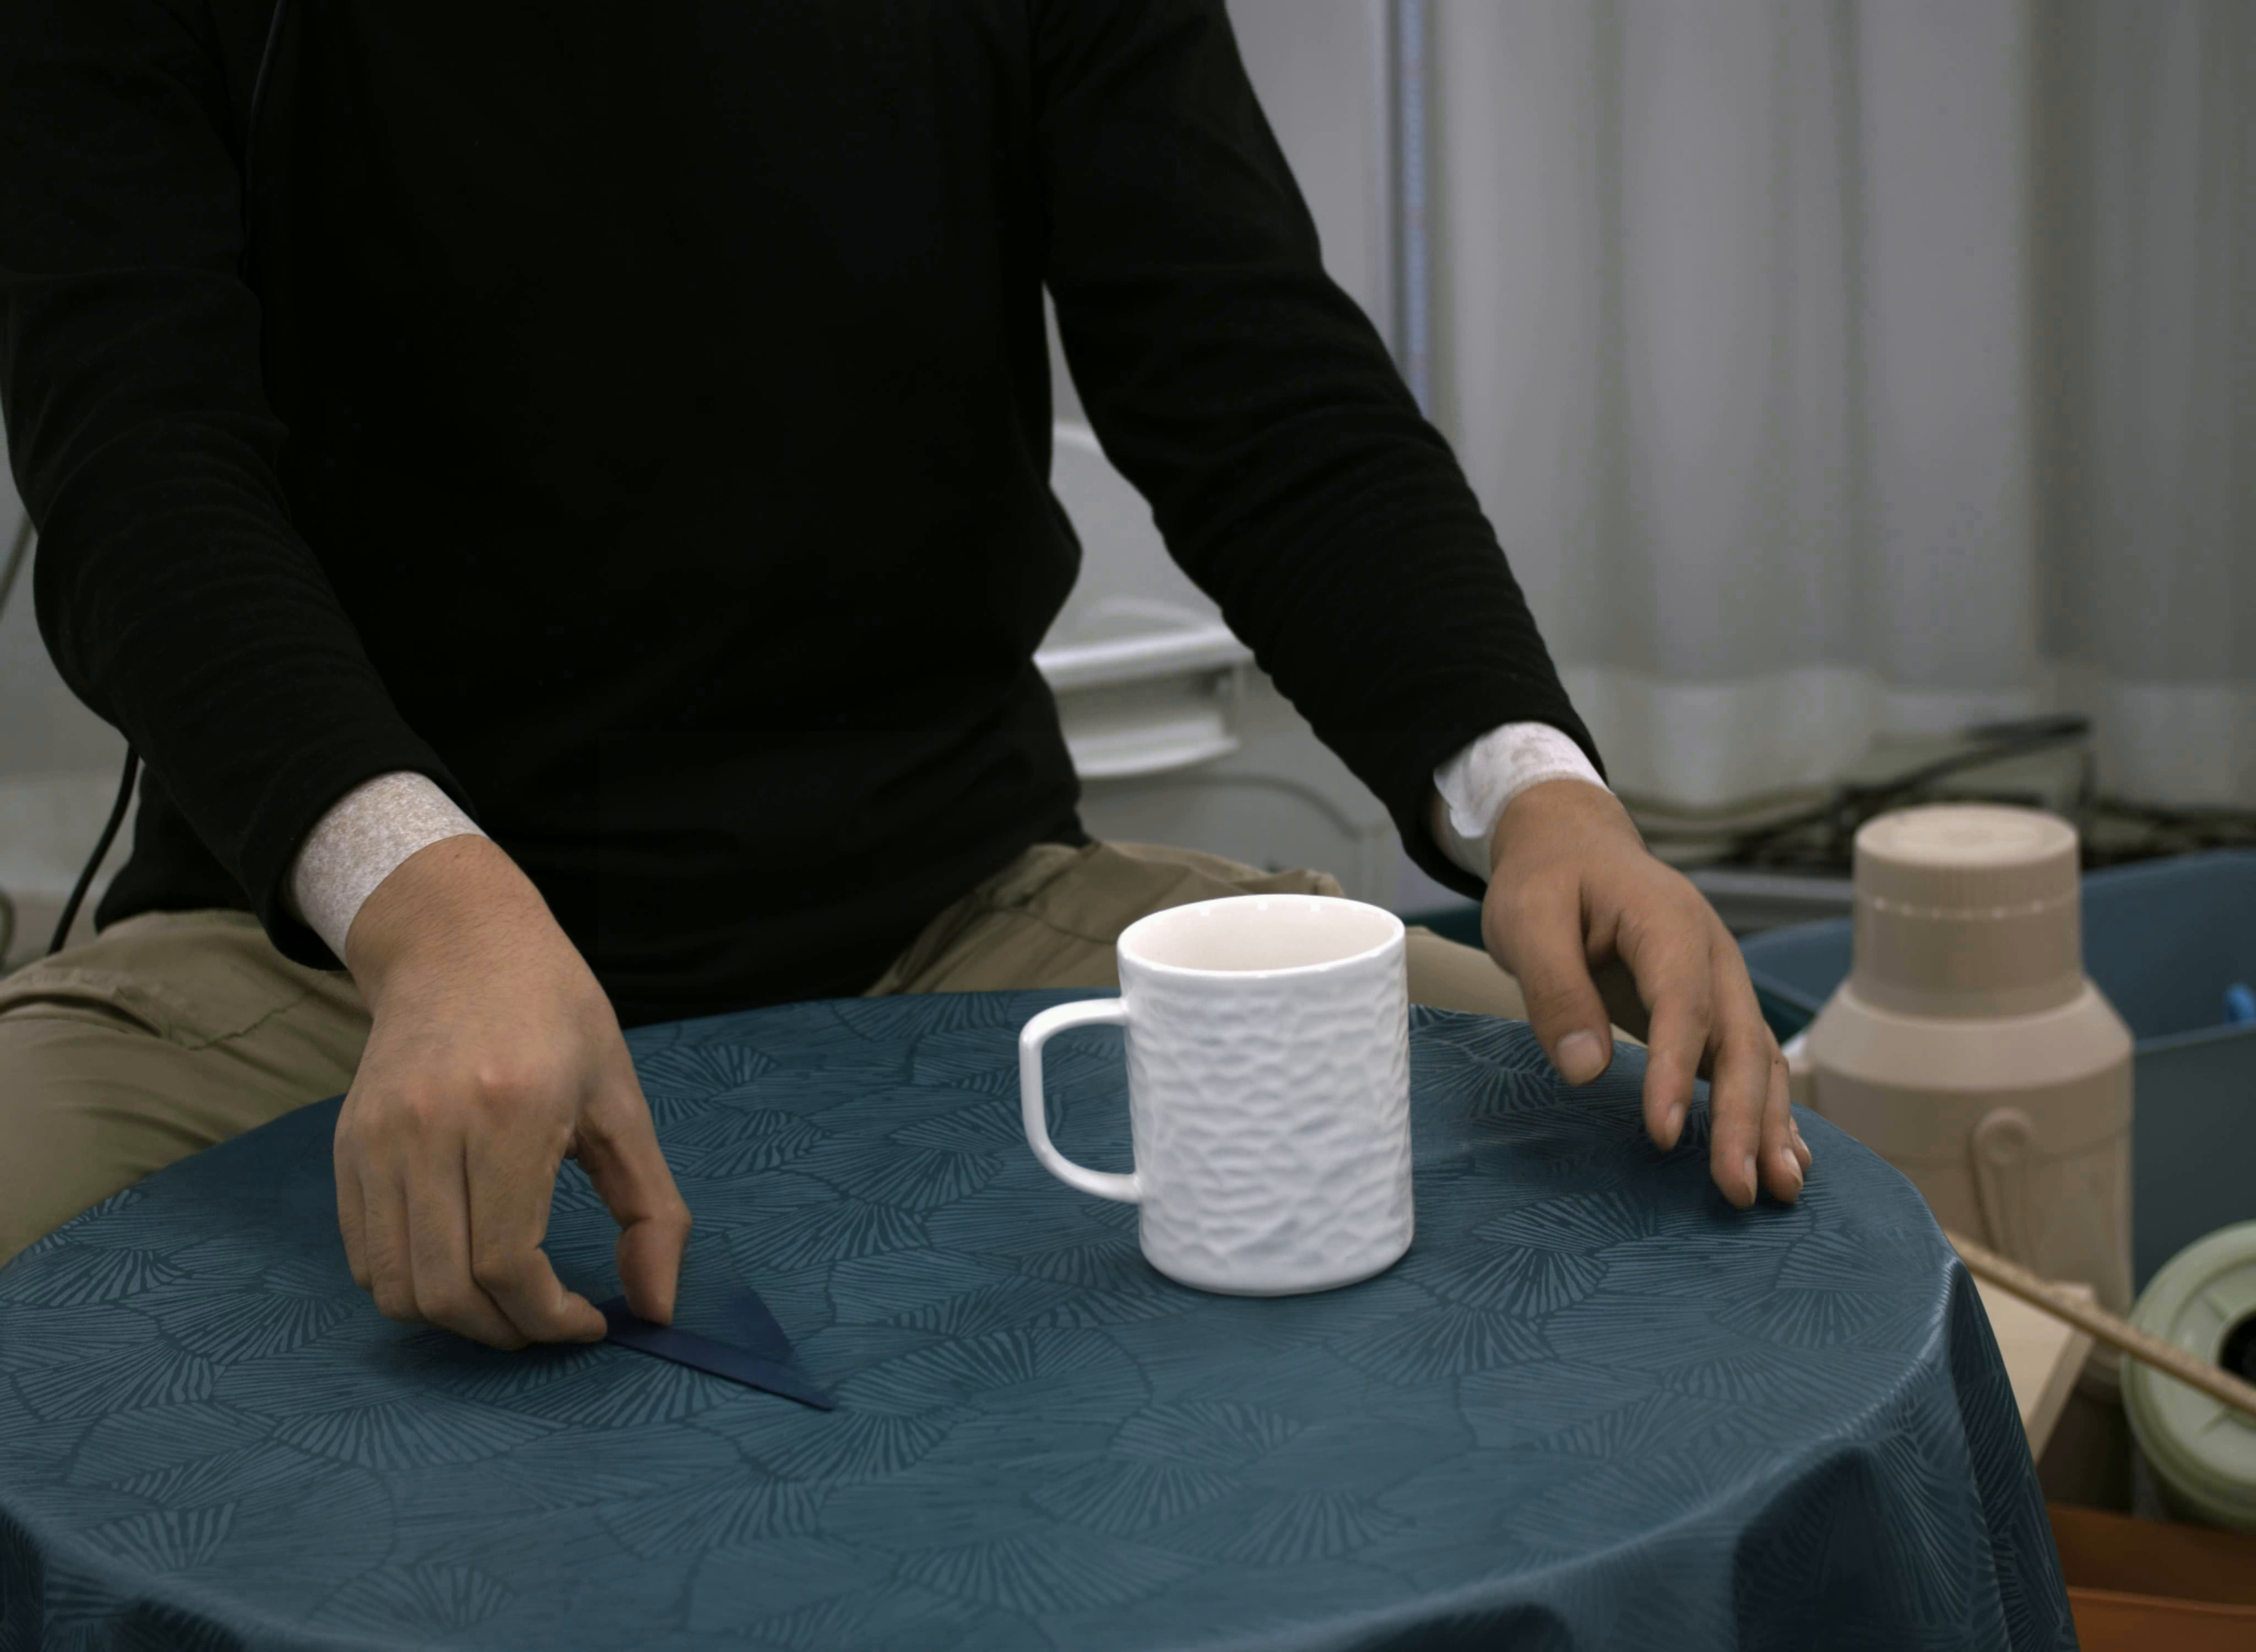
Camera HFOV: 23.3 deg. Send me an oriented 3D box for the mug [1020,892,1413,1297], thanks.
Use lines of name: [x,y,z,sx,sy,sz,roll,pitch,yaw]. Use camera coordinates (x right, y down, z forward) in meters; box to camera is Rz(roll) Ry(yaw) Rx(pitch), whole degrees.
mug: [0.027,0.082,1.635,0.118,0.101,0.085,-5,14,-9]

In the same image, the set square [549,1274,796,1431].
set square: [-0.134,0.155,1.586,0.061,0.006,0.133,-8,16,-11]
